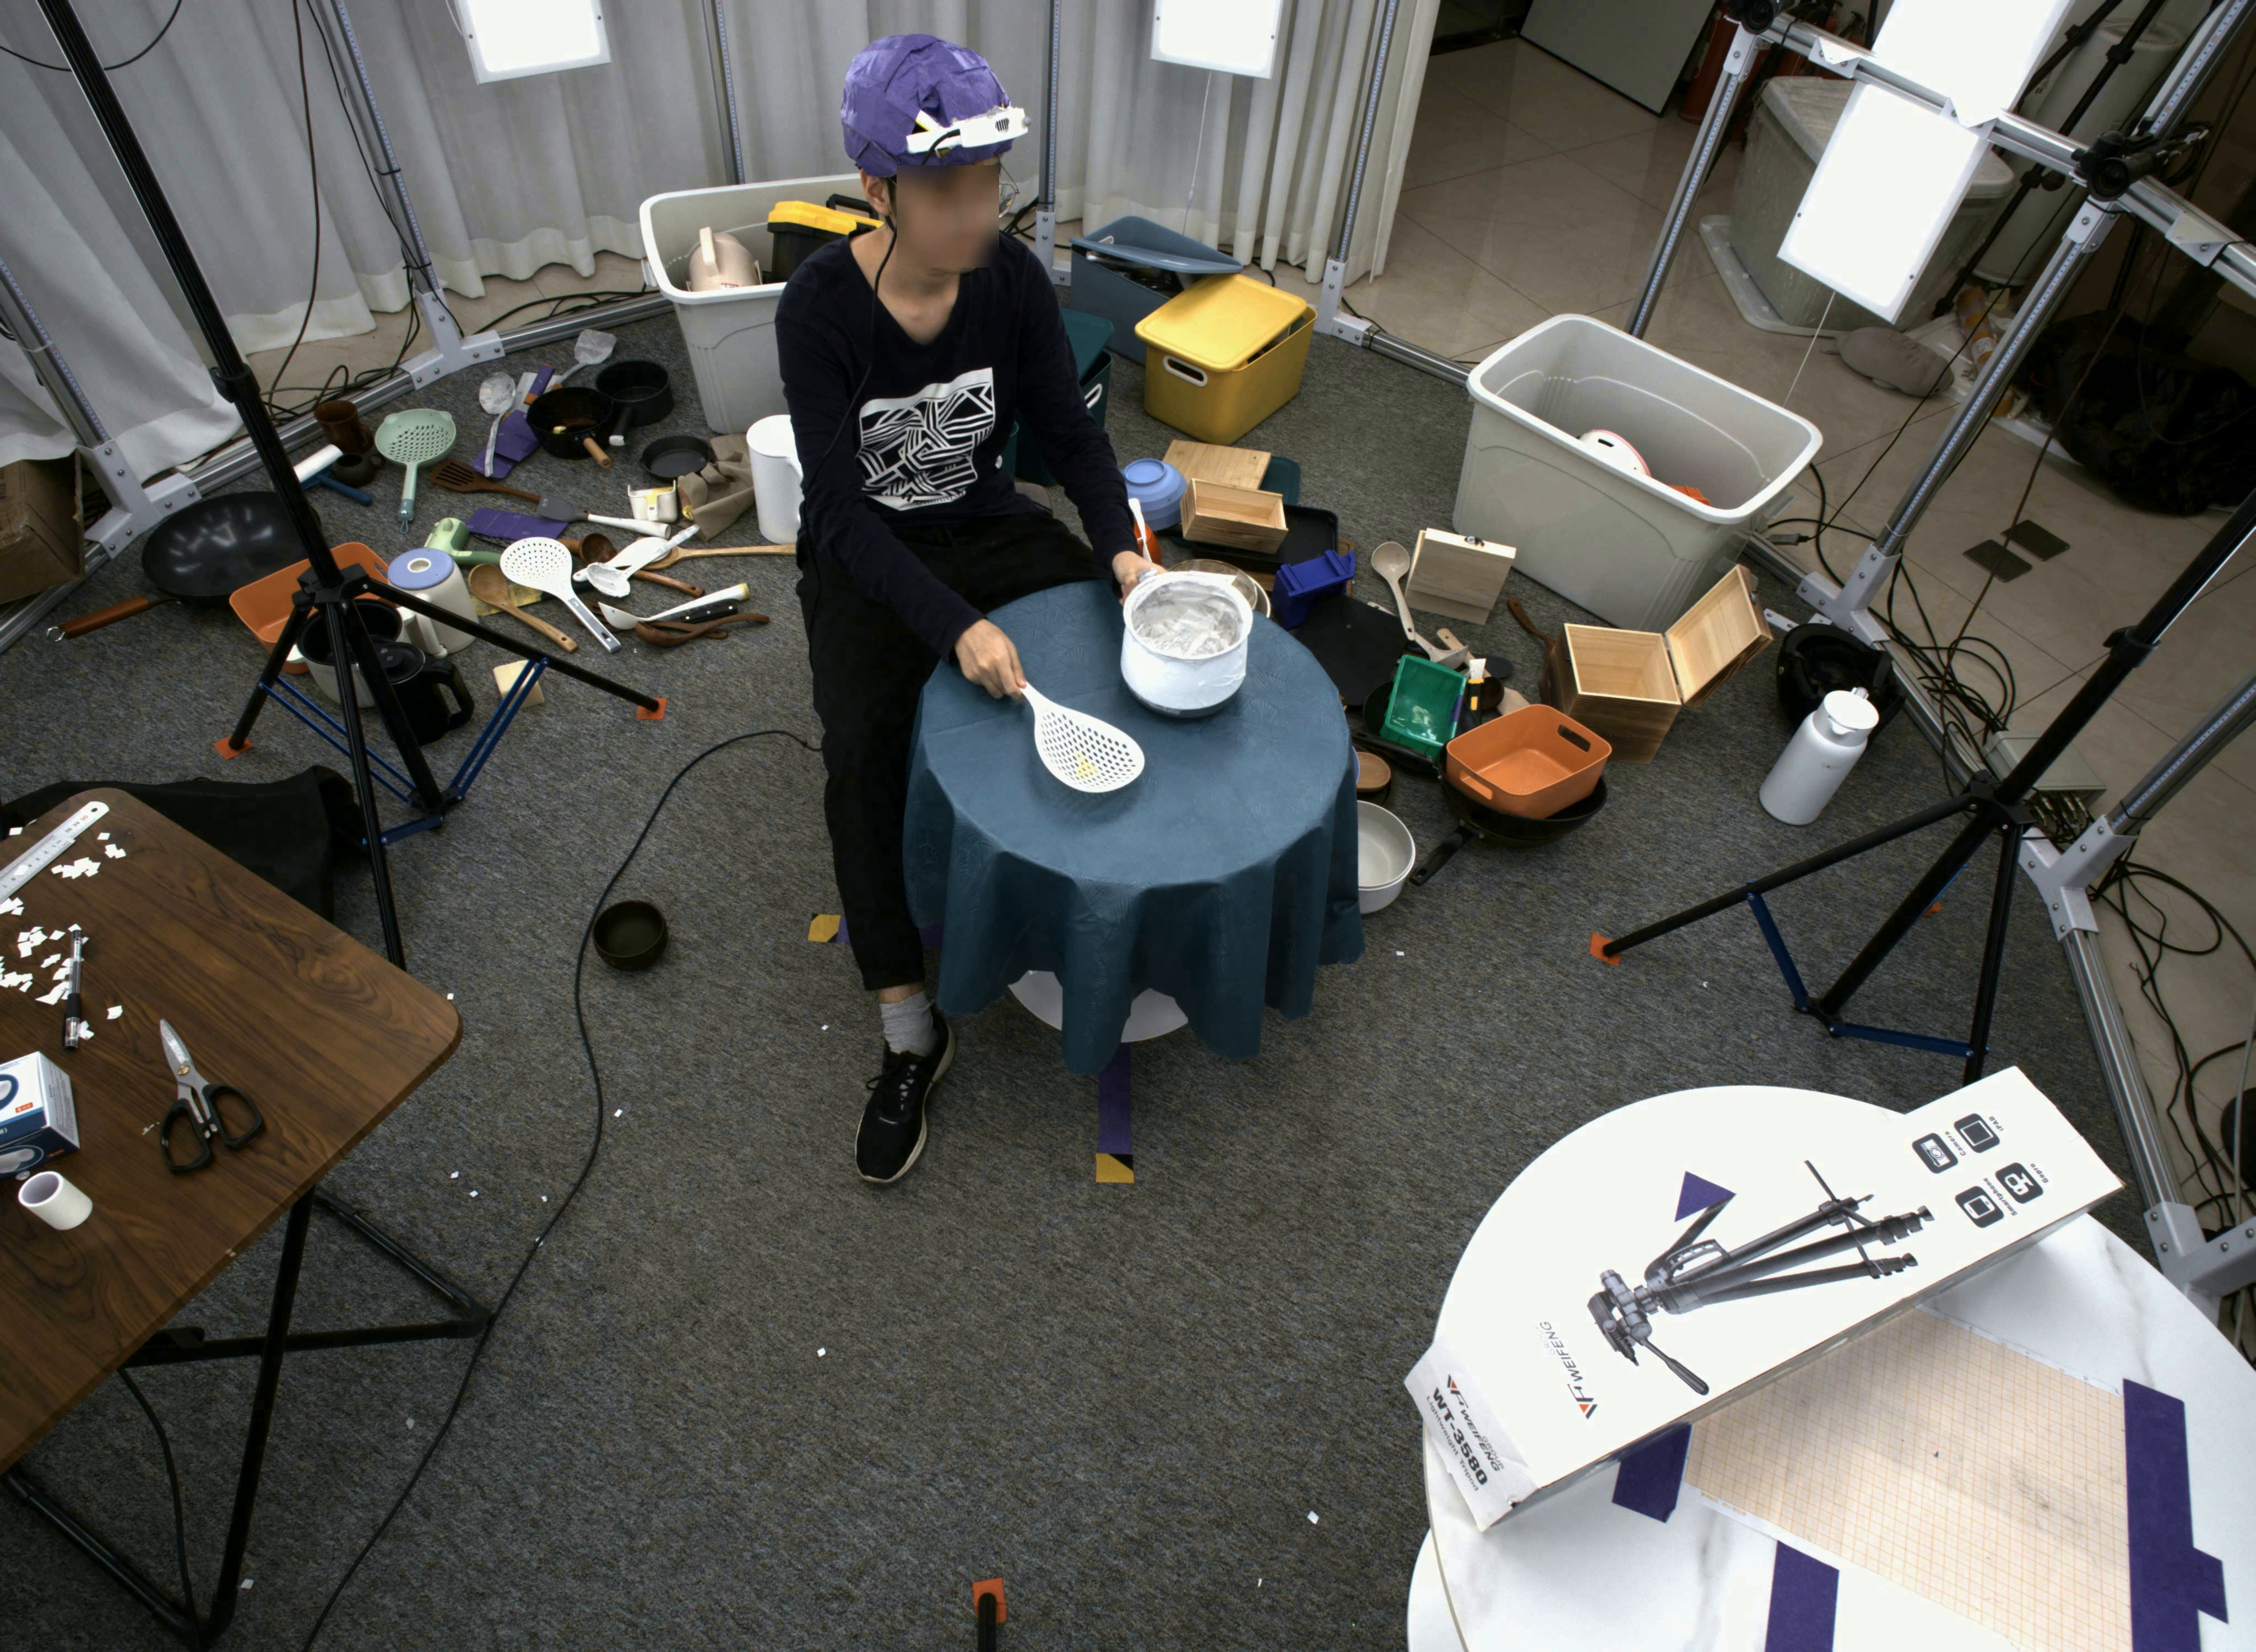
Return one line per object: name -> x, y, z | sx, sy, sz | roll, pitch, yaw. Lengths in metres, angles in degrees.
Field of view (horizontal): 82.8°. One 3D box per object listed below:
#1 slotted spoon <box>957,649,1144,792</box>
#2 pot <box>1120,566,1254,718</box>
slotted spoon -> -0.120, -0.155, 1.758 | 0.137, 0.049, 0.354 | -27, 59, -31
pot -> 0.065, -0.270, 1.814 | 0.179, 0.133, 0.238 | -22, 55, -22
